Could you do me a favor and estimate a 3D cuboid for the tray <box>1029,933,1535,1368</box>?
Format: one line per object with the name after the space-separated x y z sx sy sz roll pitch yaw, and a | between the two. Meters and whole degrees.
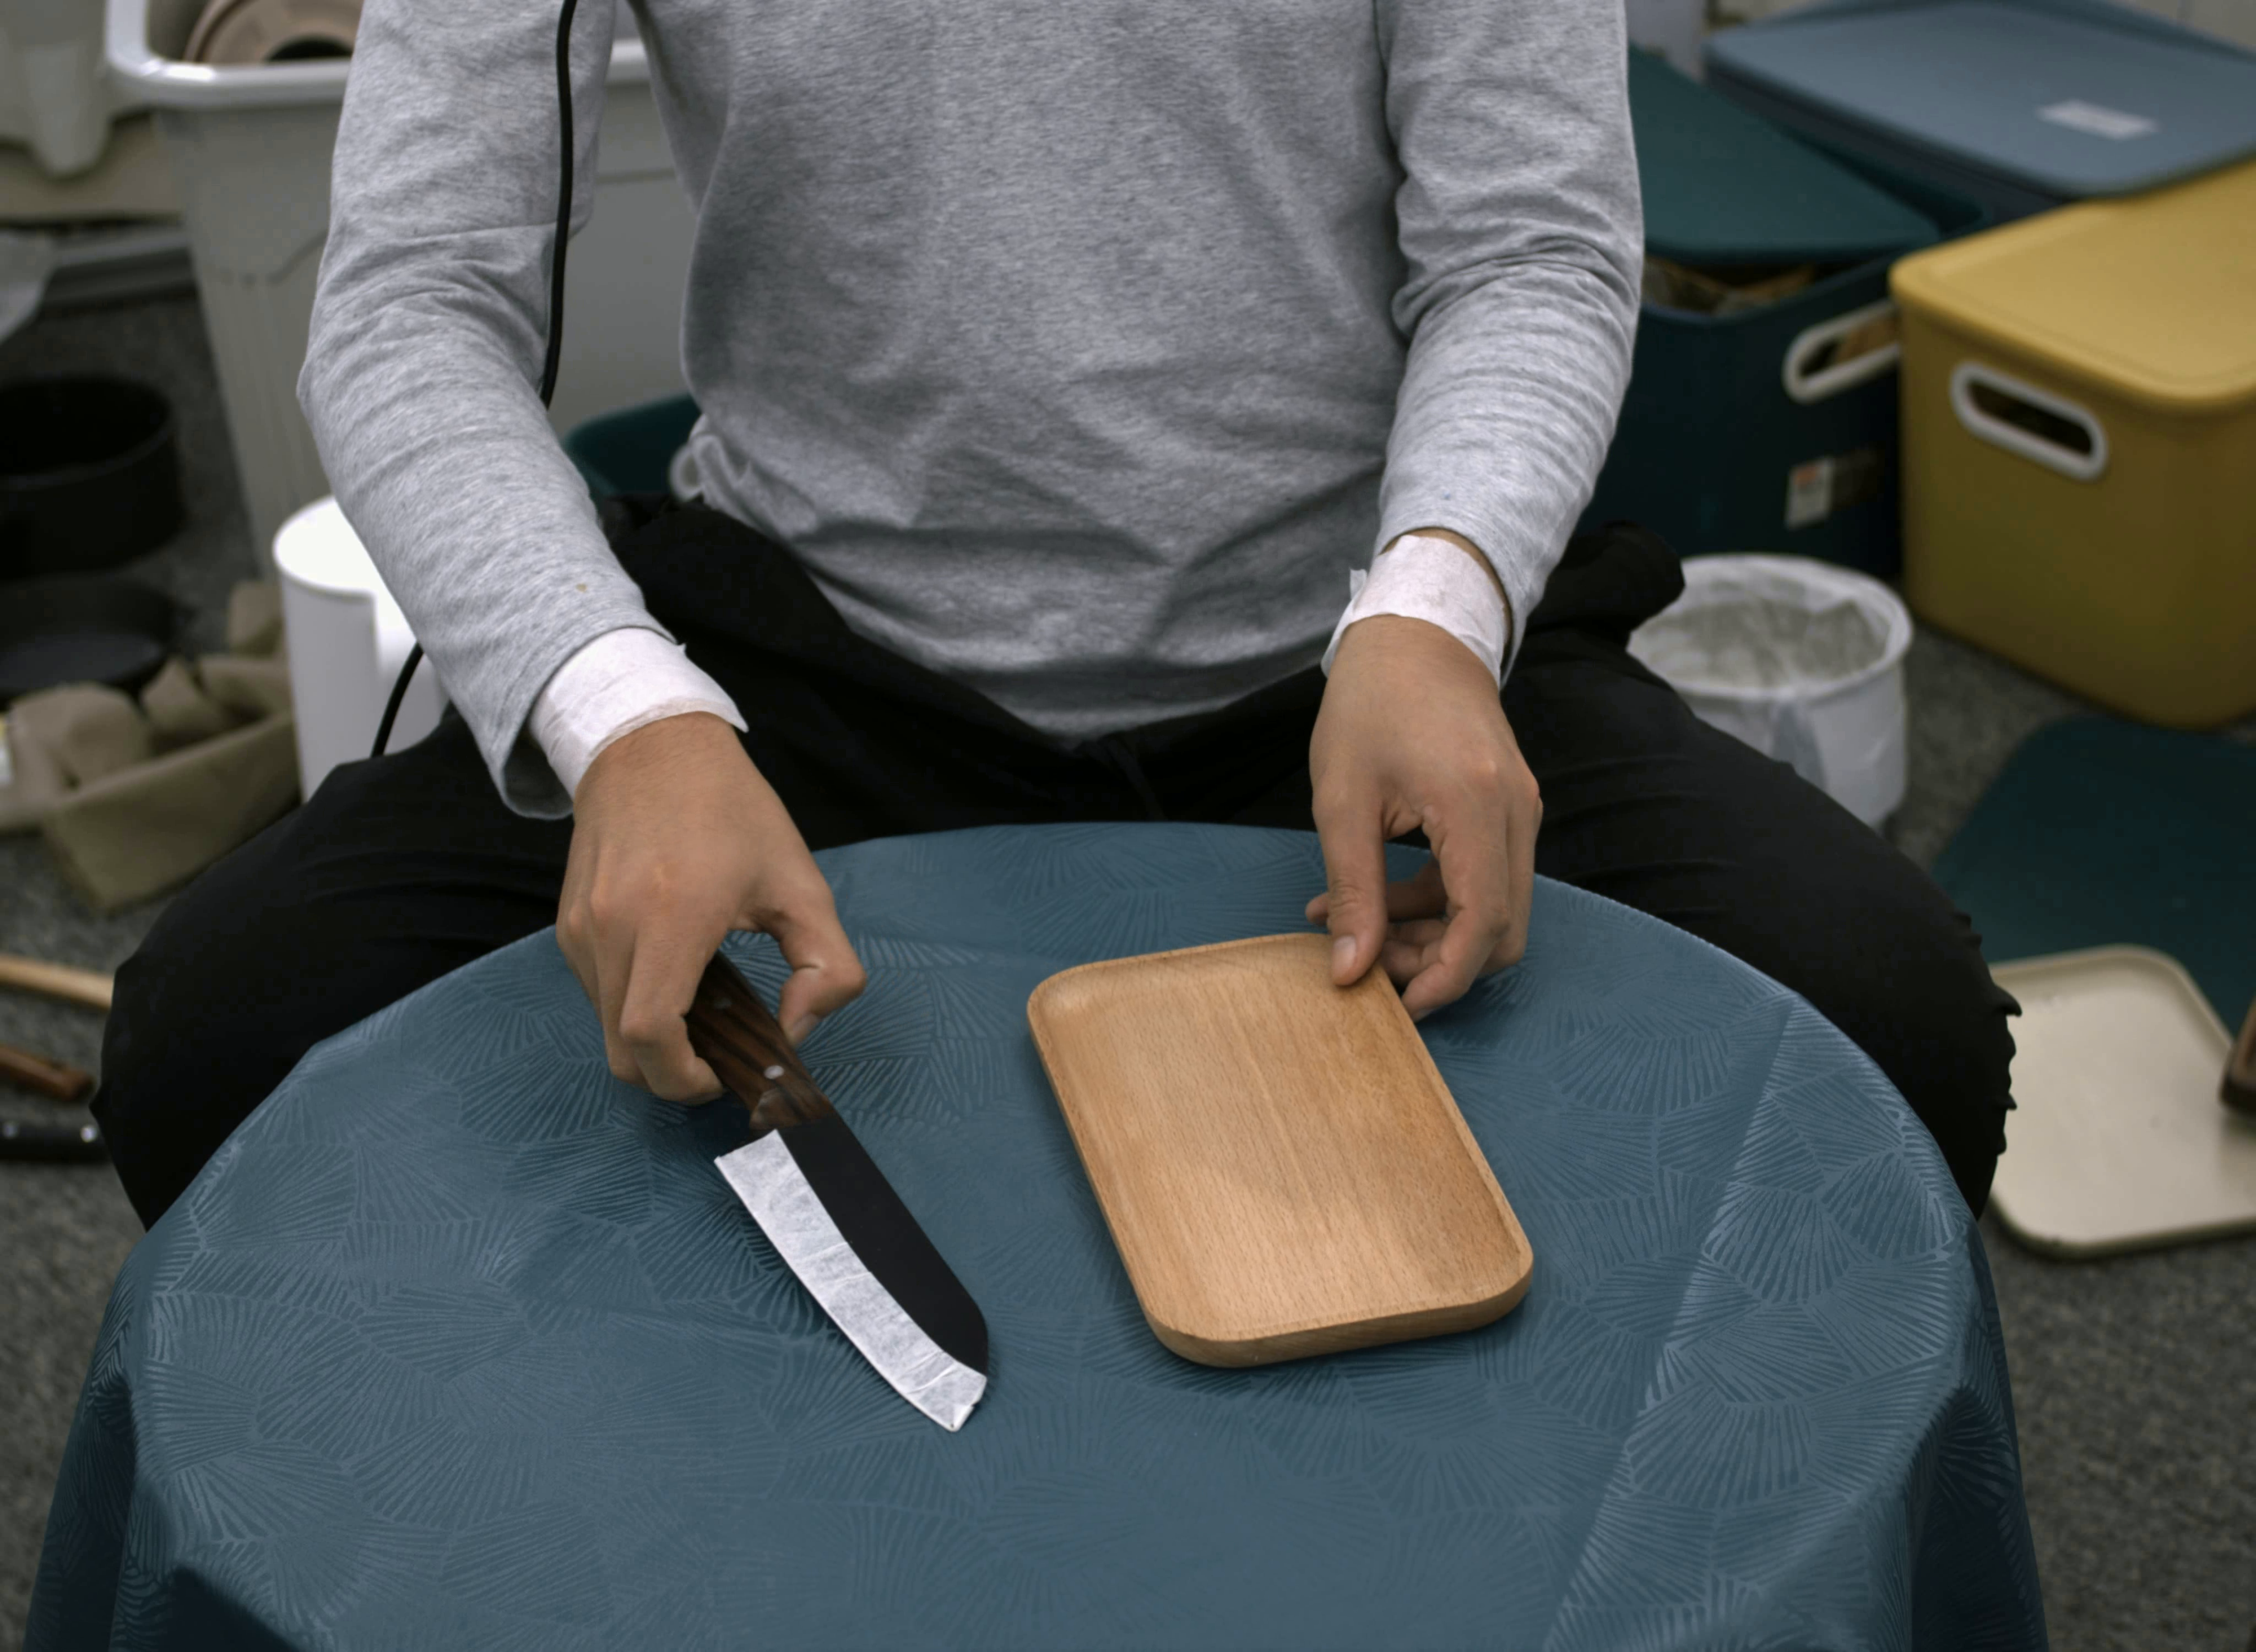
0.048 0.105 1.872 0.130 0.022 0.253 -6 27 -9 | tray

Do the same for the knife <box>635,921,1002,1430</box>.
-0.105 0.113 1.851 0.050 0.020 0.292 -22 38 -12 | knife
